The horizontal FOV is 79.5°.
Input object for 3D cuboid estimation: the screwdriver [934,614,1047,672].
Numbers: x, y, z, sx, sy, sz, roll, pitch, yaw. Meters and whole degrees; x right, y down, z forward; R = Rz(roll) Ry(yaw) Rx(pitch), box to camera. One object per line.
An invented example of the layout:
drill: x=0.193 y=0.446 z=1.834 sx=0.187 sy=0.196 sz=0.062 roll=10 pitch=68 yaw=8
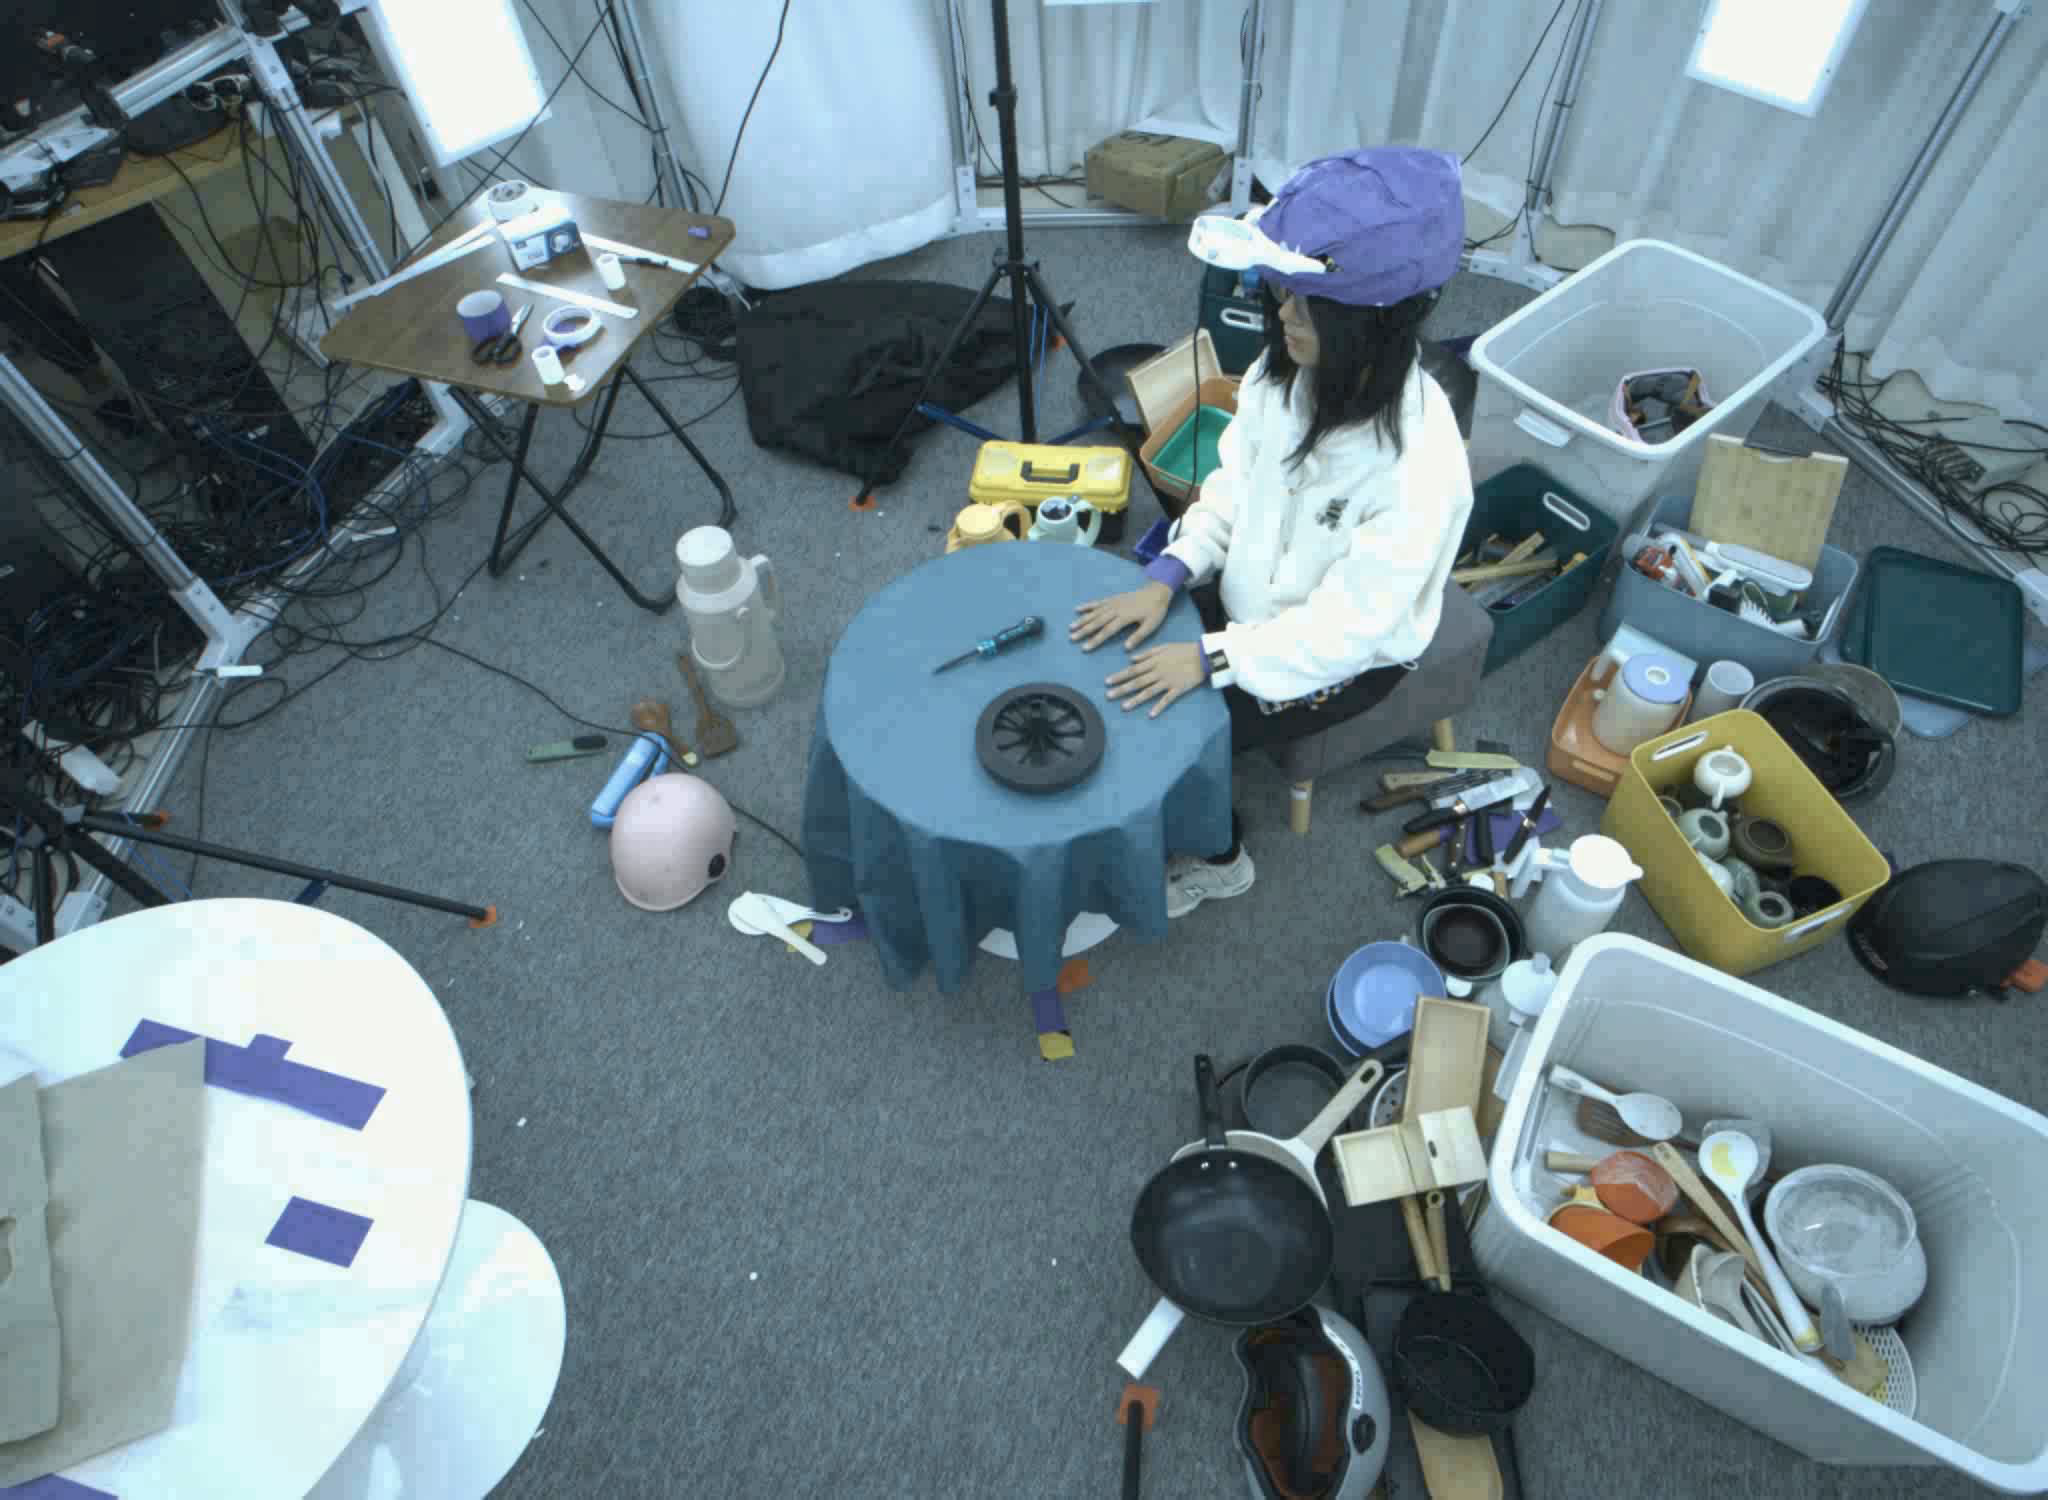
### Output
screwdriver: x=-0.053 y=-0.161 z=1.891 sx=0.191 sy=0.034 sz=0.033 roll=-26 pitch=58 yaw=-9

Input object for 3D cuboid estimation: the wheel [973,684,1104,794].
wheel: x=0.020 y=-0.031 z=1.763 sx=0.188 sy=0.080 sz=0.187 roll=11 pitch=56 yaw=10
